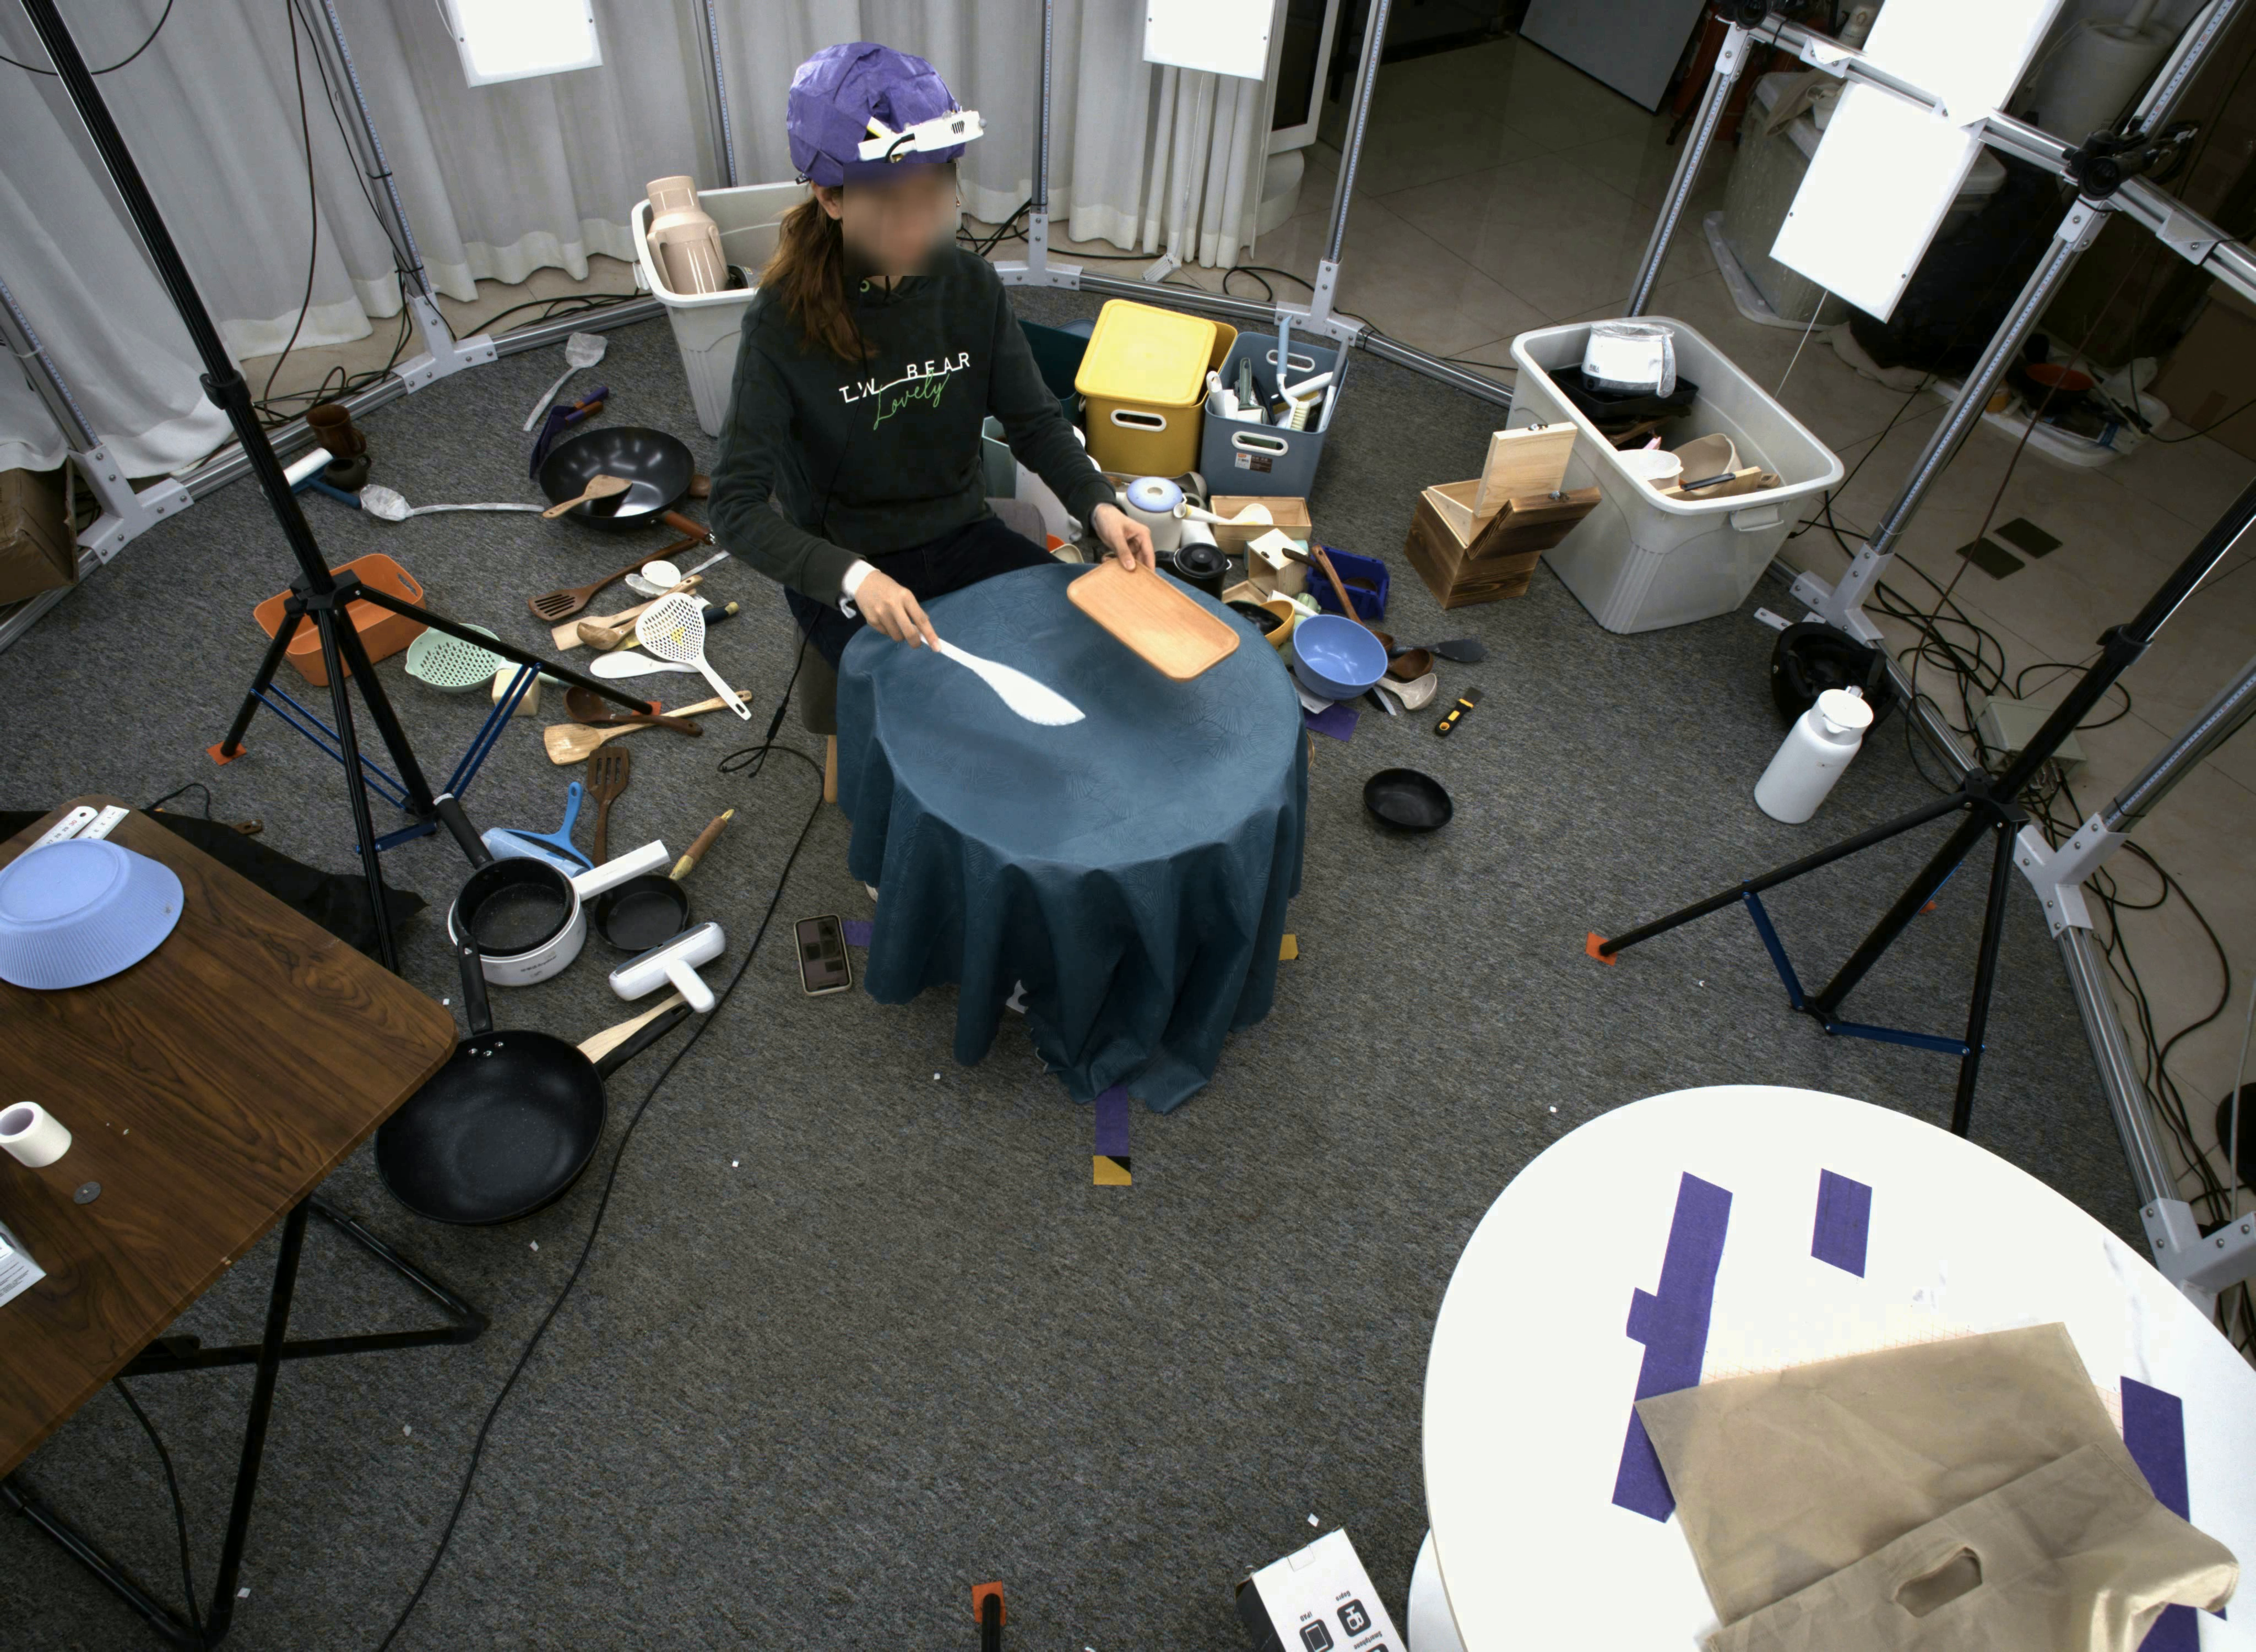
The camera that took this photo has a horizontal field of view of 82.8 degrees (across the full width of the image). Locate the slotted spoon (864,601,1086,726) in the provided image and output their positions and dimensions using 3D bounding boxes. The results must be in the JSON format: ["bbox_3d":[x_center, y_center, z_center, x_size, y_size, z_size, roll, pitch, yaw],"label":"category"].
[{"bbox_3d":[-0.206,-0.218,1.688,0.354,0.134,0.046,33,81,21],"label":"slotted spoon"}]

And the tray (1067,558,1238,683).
[{"bbox_3d":[0.032,-0.290,1.797,0.131,0.022,0.255,-32,56,-26],"label":"tray"}]
